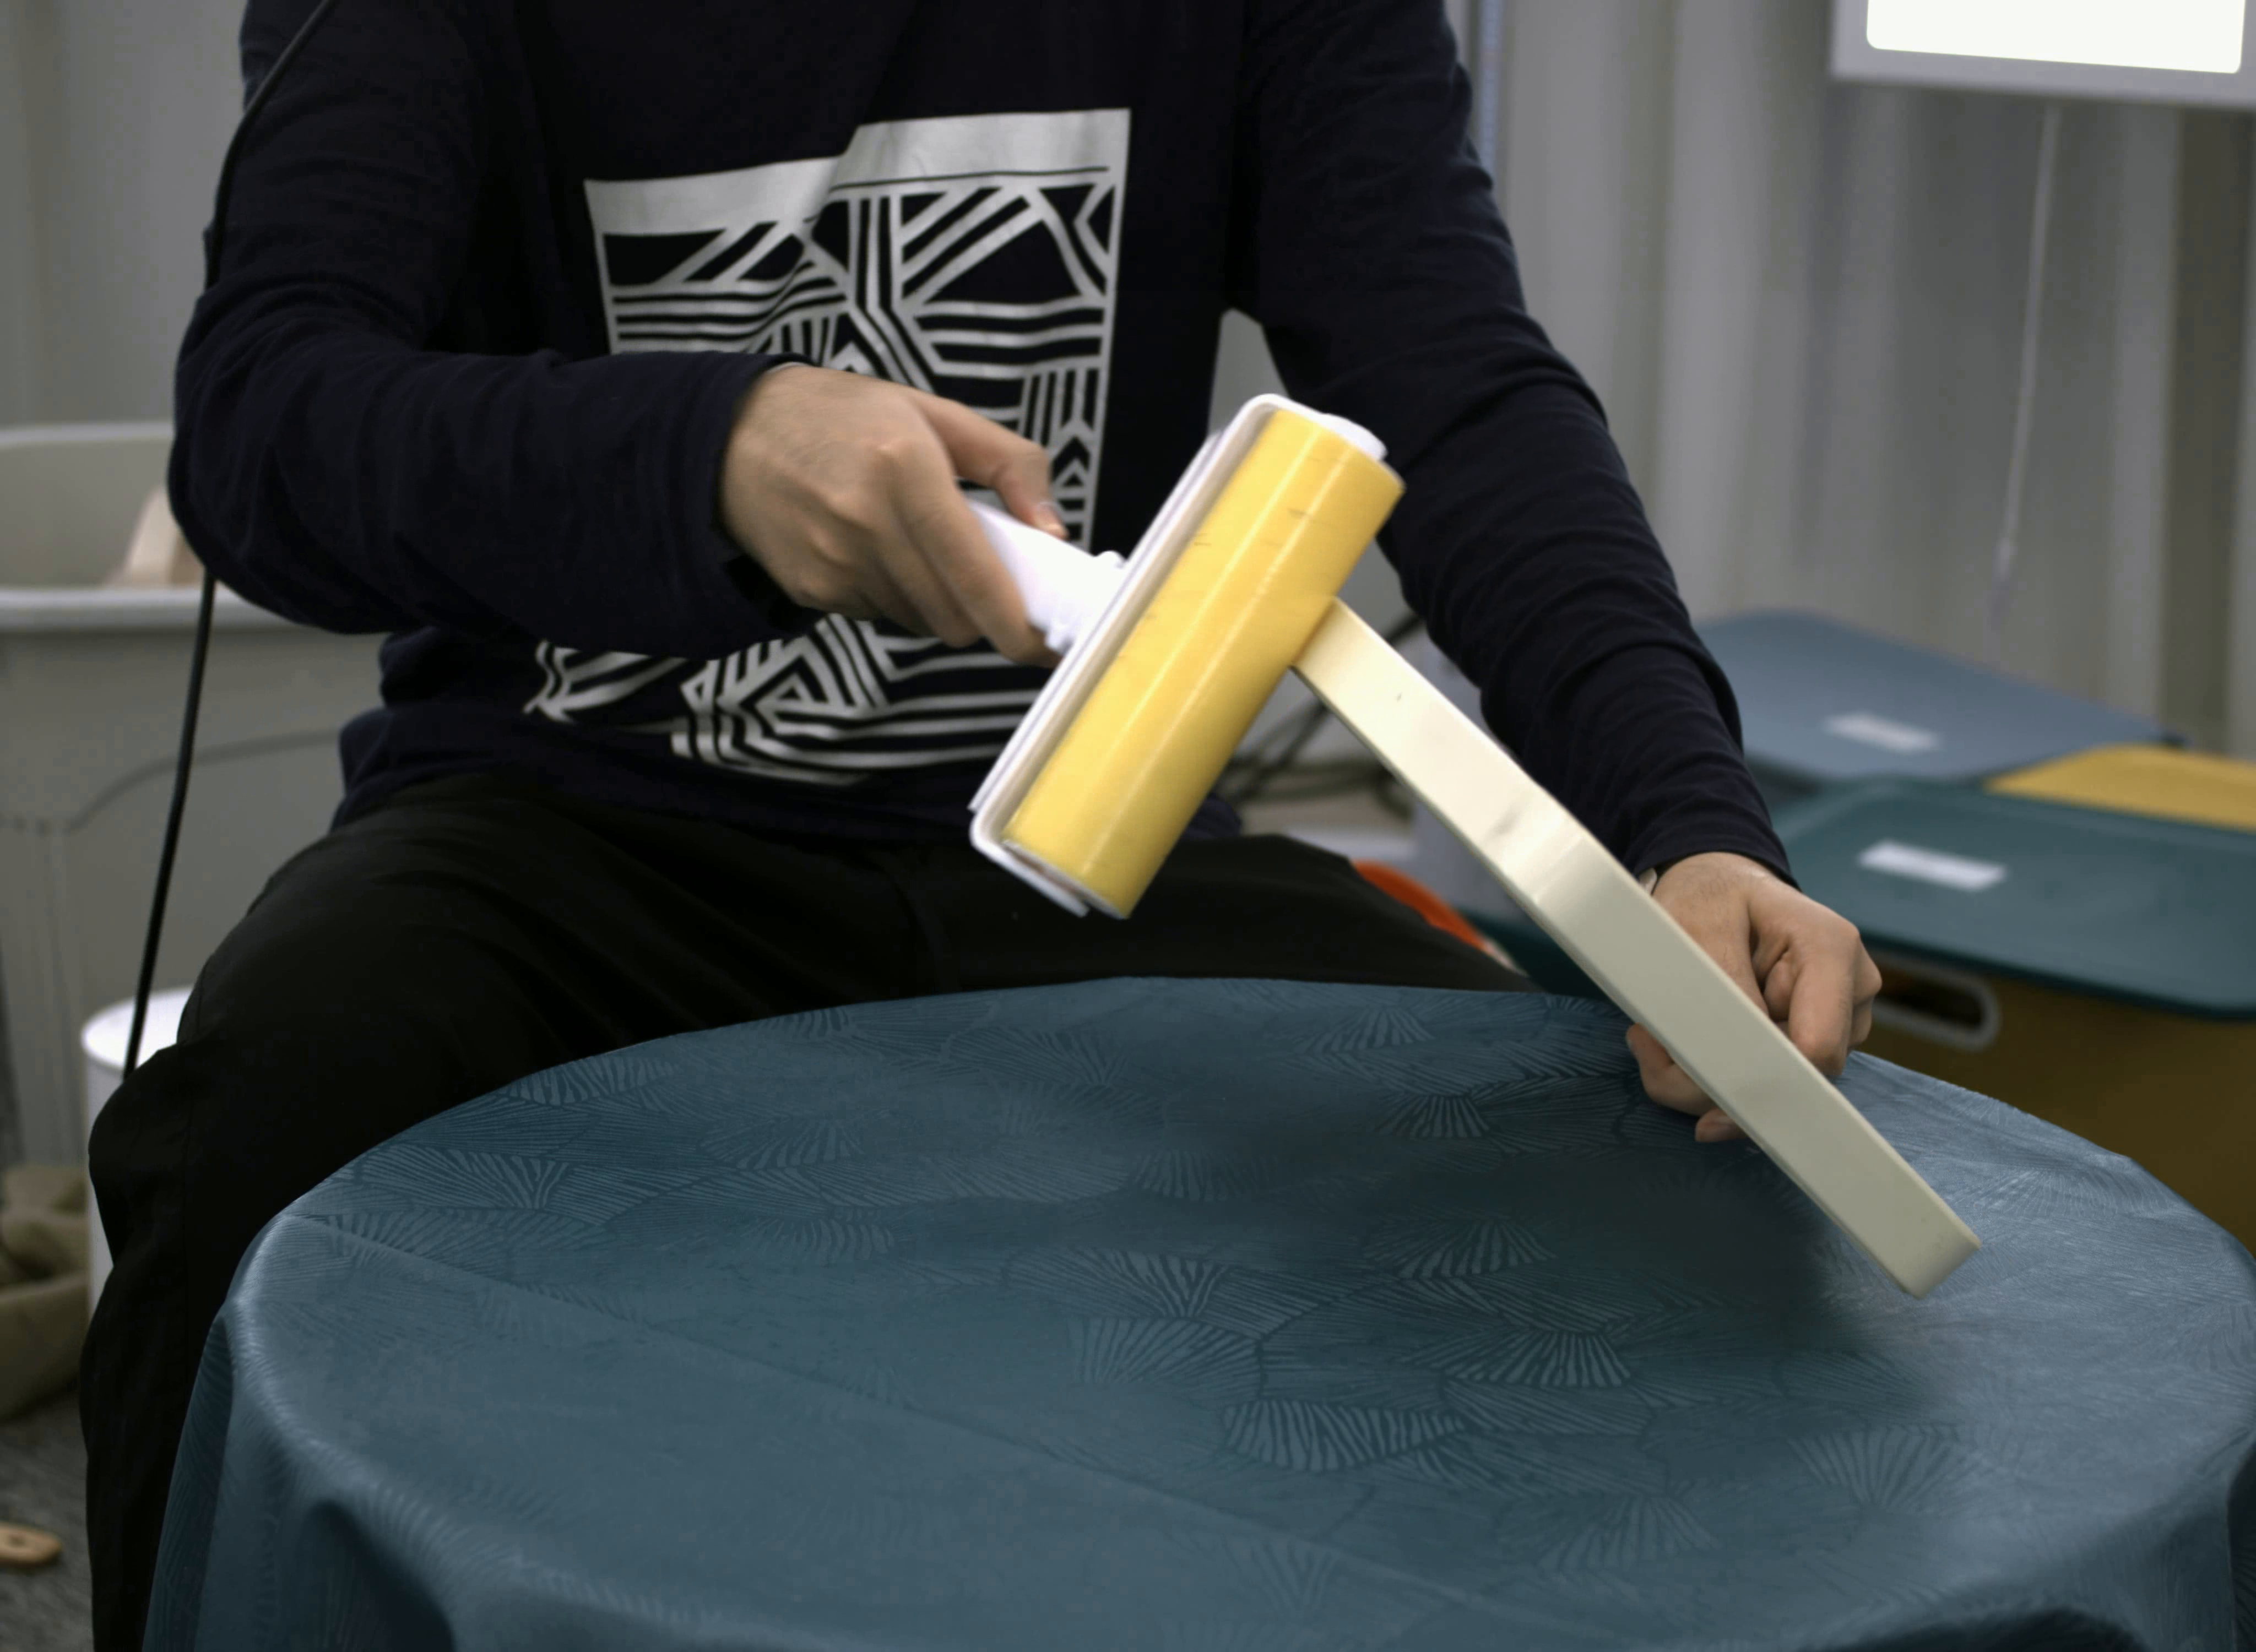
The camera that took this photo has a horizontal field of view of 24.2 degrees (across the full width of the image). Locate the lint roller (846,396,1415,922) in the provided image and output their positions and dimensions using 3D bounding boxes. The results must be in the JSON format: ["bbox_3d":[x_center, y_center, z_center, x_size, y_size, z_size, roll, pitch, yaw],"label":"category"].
[{"bbox_3d":[-0.026,-0.077,1.666,0.189,0.174,0.052,28,-8,31],"label":"lint roller"}]

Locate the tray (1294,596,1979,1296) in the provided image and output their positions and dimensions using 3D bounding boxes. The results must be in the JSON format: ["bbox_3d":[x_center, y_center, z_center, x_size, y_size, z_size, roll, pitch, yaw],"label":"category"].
[{"bbox_3d":[0.141,0.027,1.592,0.027,0.193,0.297,-44,21,2],"label":"tray"}]
